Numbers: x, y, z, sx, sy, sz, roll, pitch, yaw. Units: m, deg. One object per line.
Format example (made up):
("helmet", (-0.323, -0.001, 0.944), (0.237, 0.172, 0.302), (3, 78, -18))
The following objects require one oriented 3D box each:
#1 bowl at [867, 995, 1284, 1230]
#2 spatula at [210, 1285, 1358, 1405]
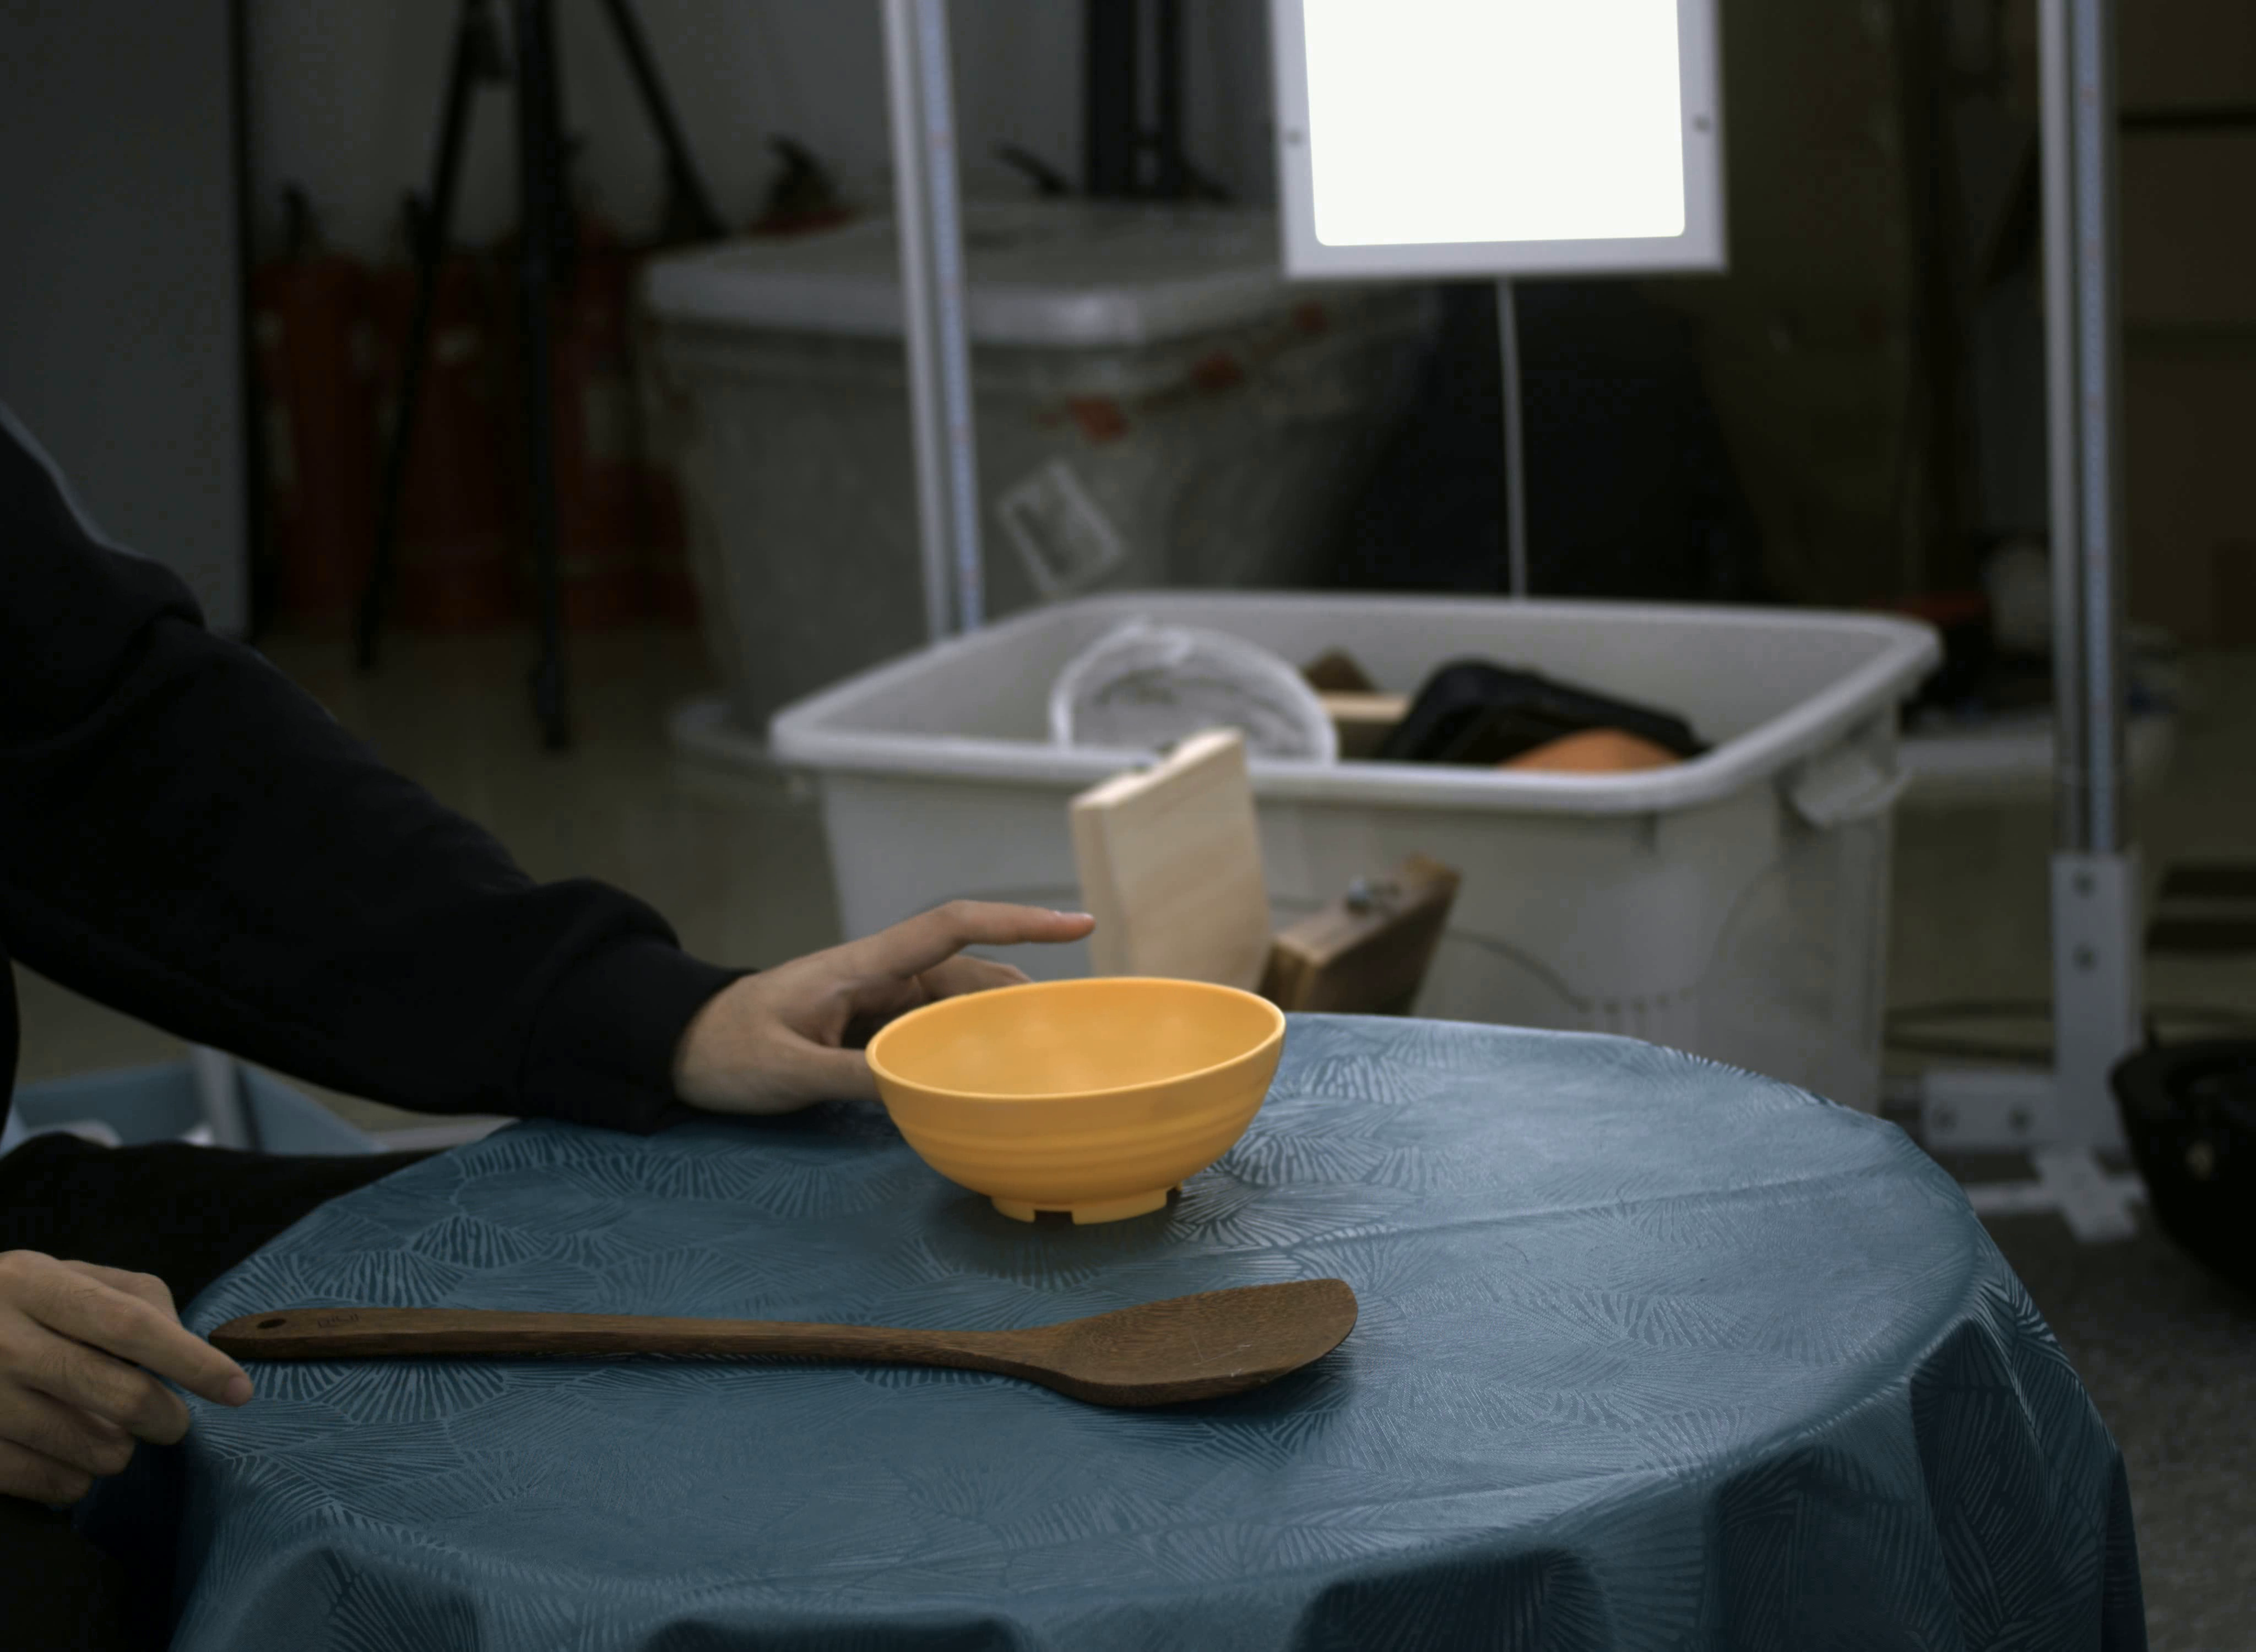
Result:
("bowl", (-0.016, 0.101, 1.890), (0.145, 0.060, 0.145), (-5, 11, 0))
("spatula", (-0.116, 0.163, 1.760), (0.390, 0.016, 0.094), (-1, 14, 18))
